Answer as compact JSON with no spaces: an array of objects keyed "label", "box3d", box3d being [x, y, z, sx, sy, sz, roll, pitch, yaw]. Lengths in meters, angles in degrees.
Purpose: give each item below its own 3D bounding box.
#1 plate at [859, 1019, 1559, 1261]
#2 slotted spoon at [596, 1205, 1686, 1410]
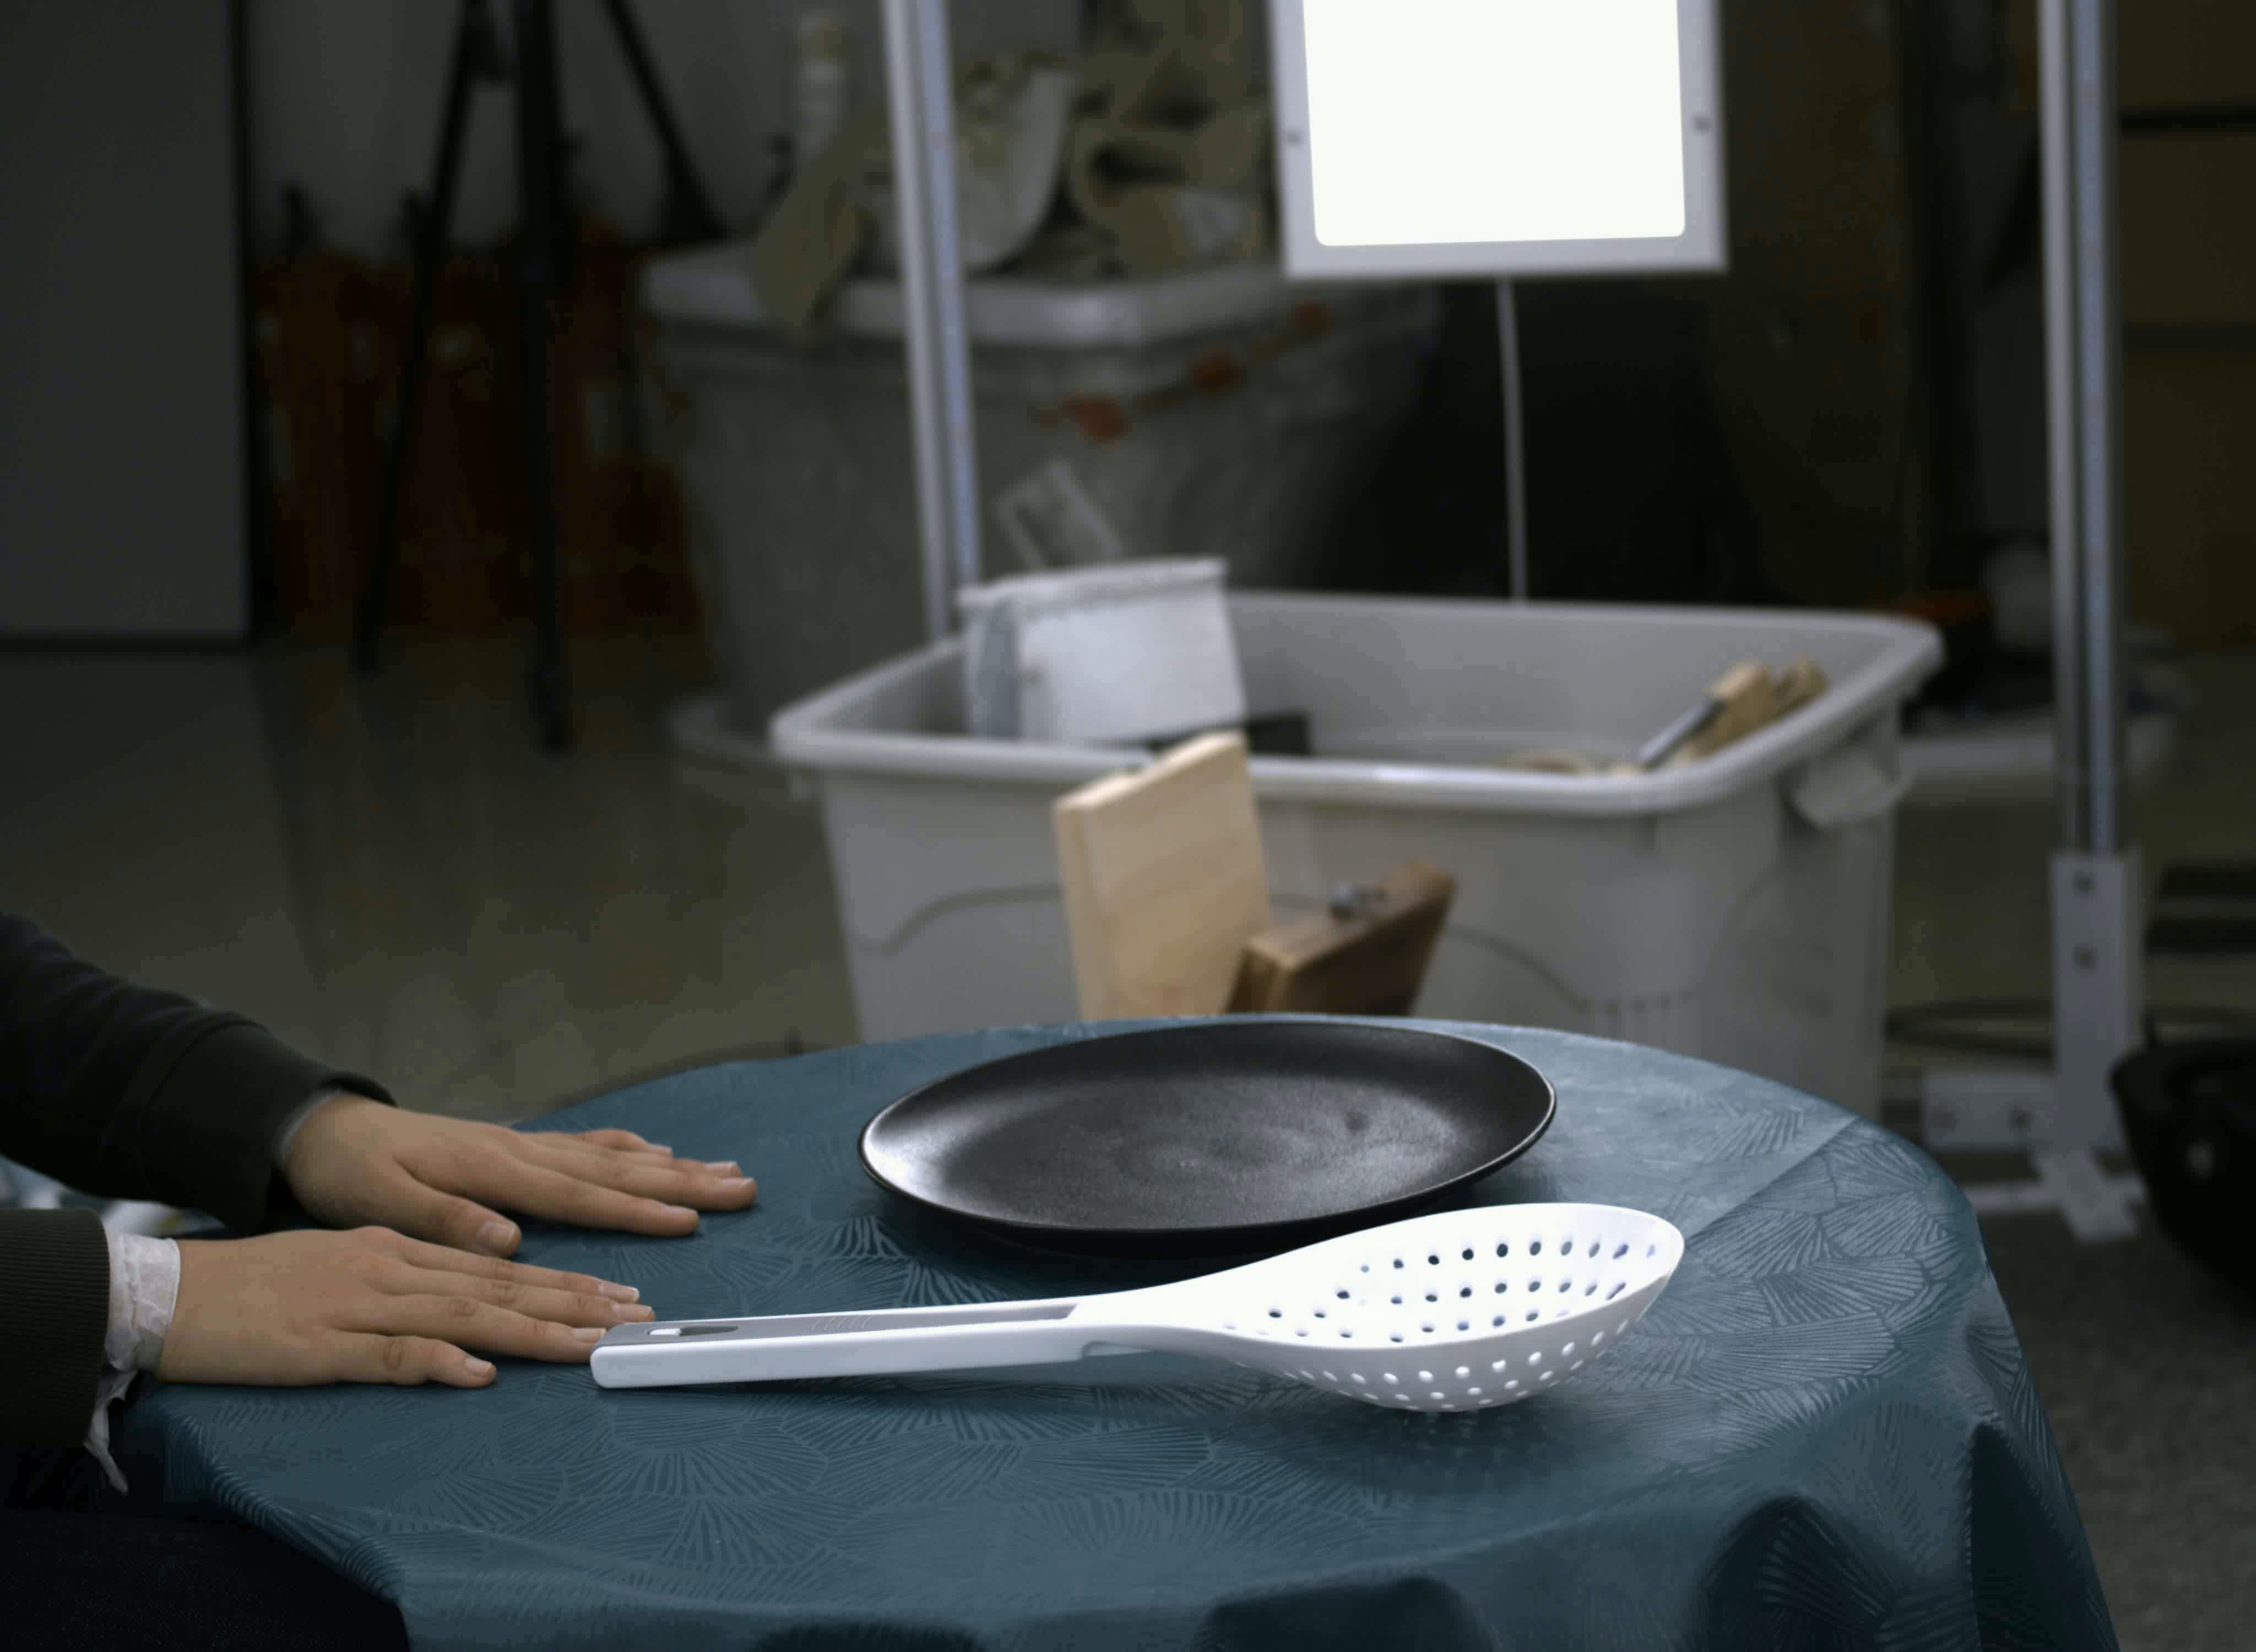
[{"label":"plate","box3d":[0.029,0.111,1.902,0.244,0.023,0.244,-5,14,0]},{"label":"slotted spoon","box3d":[0.000,0.152,1.696,0.354,0.046,0.134,-1,12,18]}]
